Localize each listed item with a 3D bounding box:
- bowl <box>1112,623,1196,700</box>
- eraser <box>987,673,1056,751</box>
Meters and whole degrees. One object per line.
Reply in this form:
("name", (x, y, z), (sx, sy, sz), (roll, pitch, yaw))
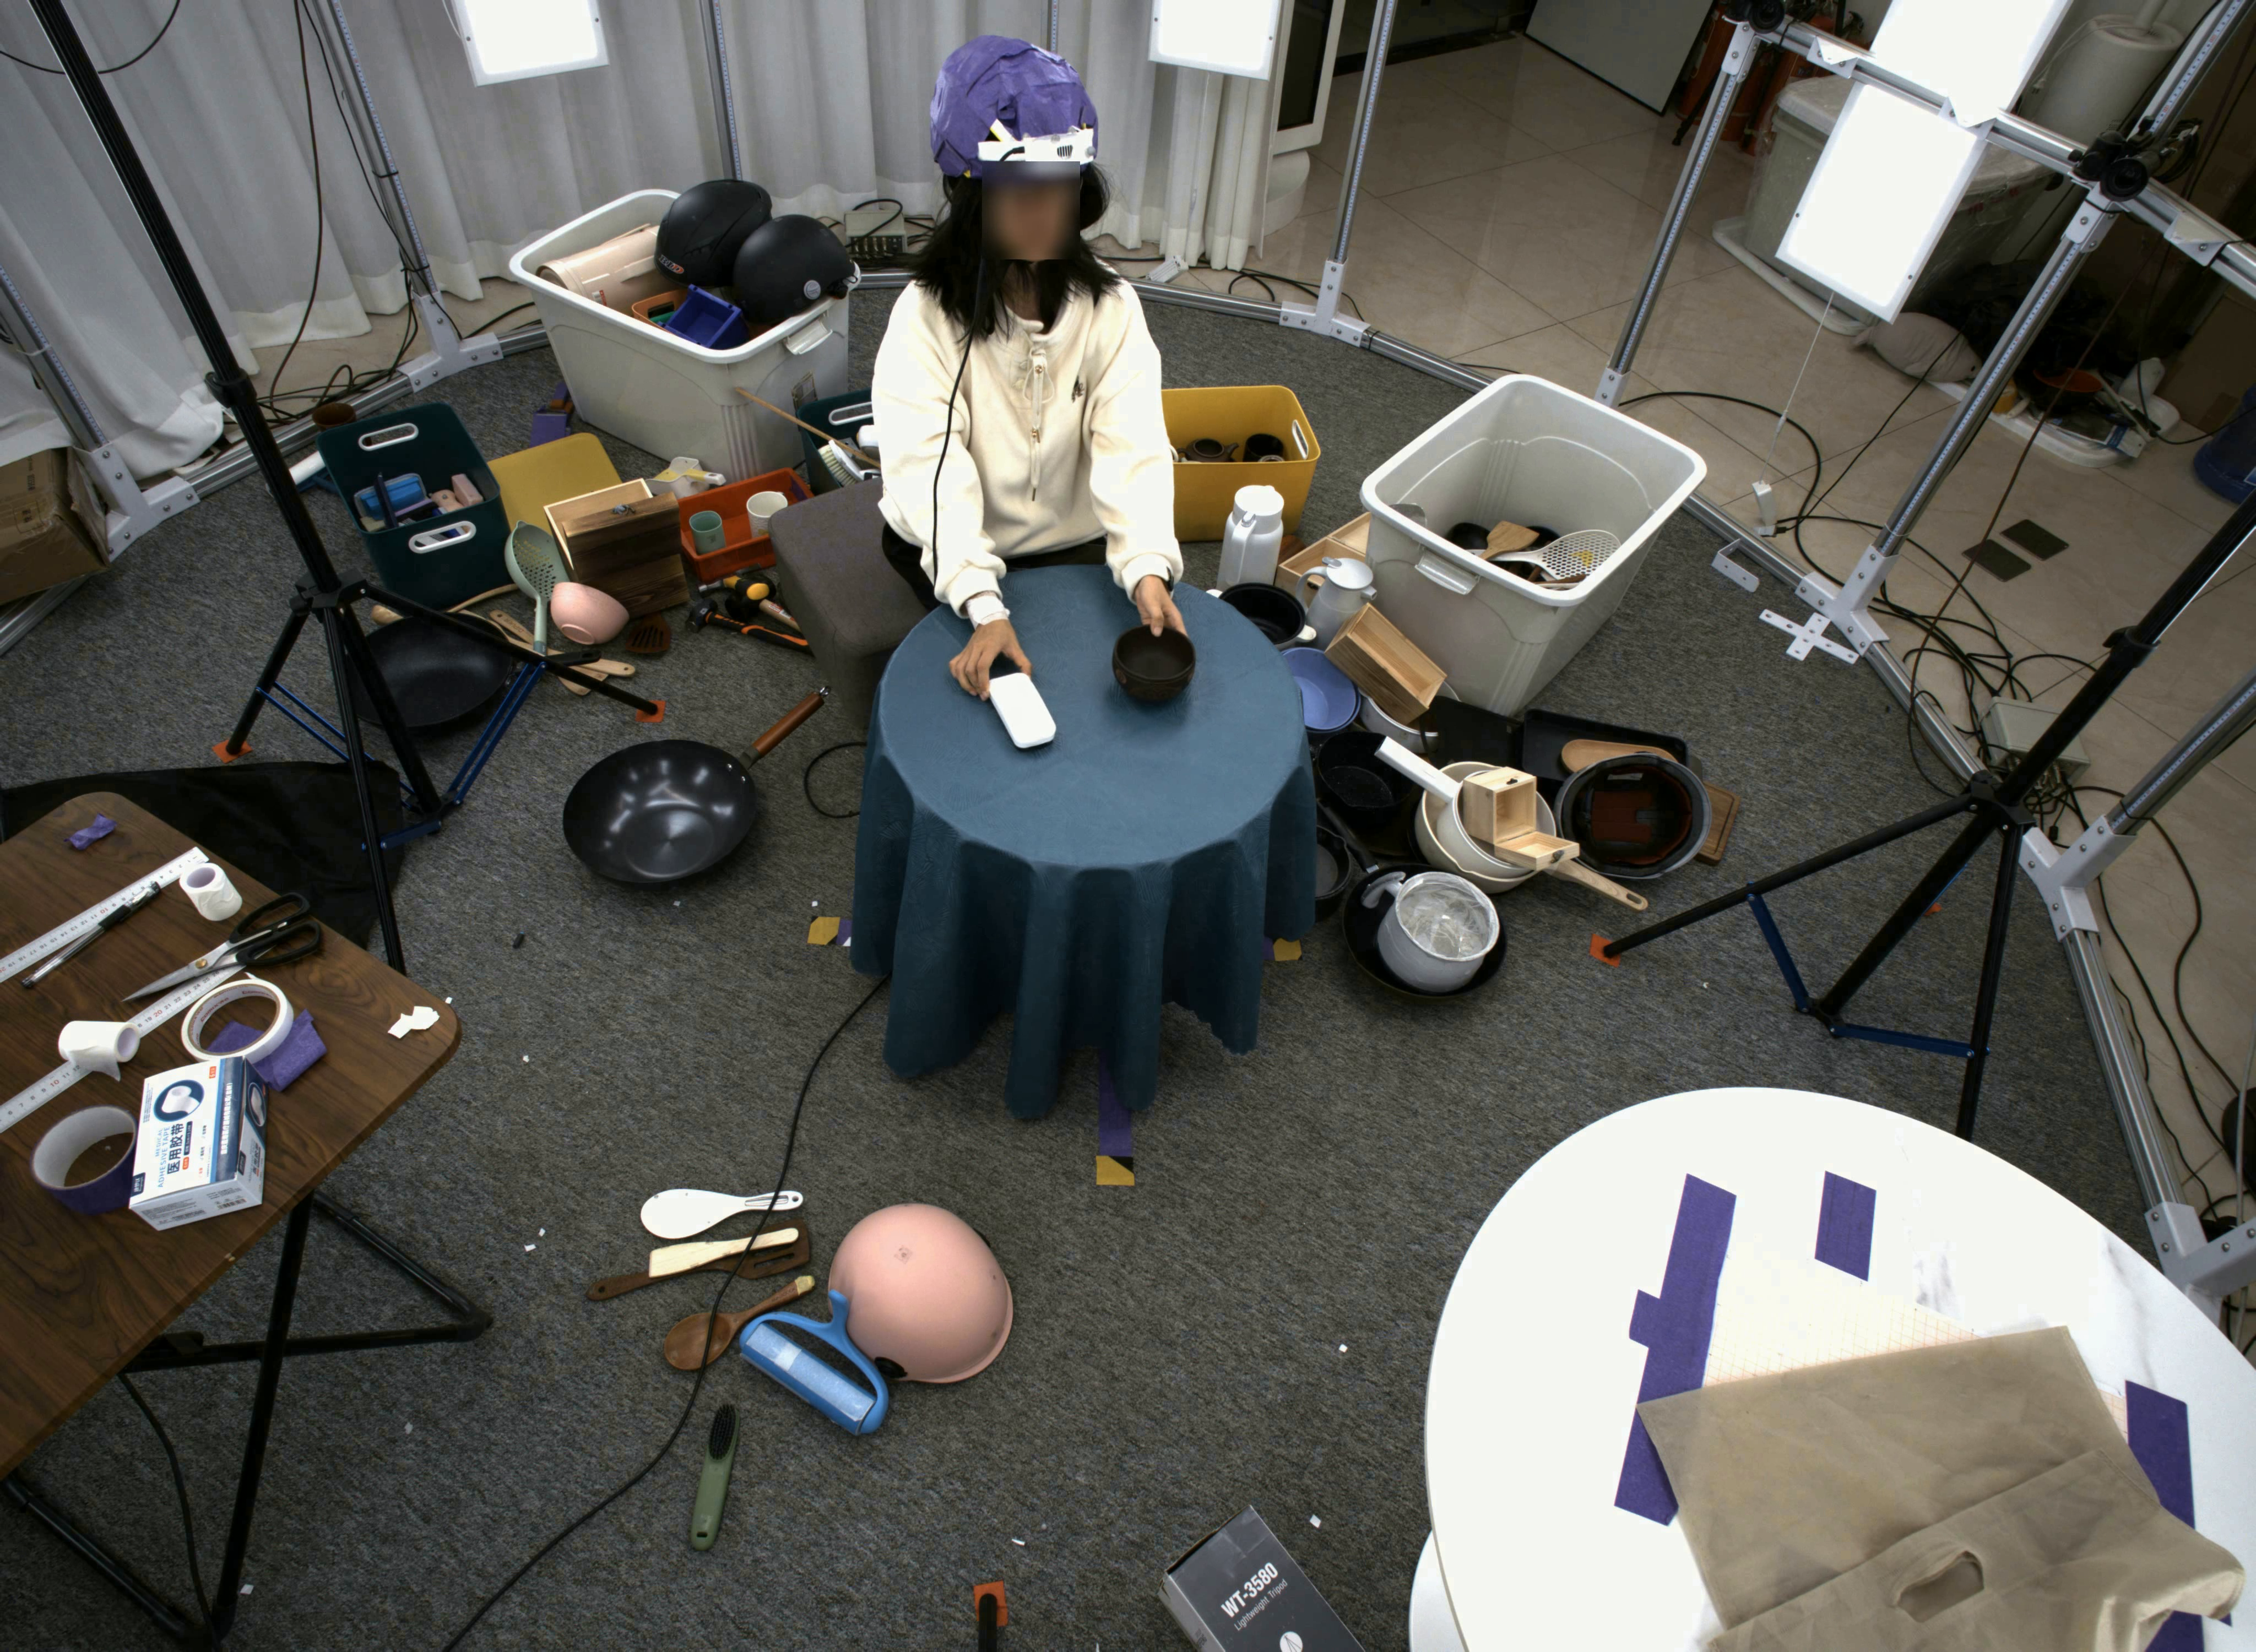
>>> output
("bowl", (0.035, -0.225, 1.821), (0.118, 0.068, 0.121), (3, 48, -3))
("eraser", (-0.147, -0.161, 1.781), (0.063, 0.034, 0.134), (-16, 53, -17))
